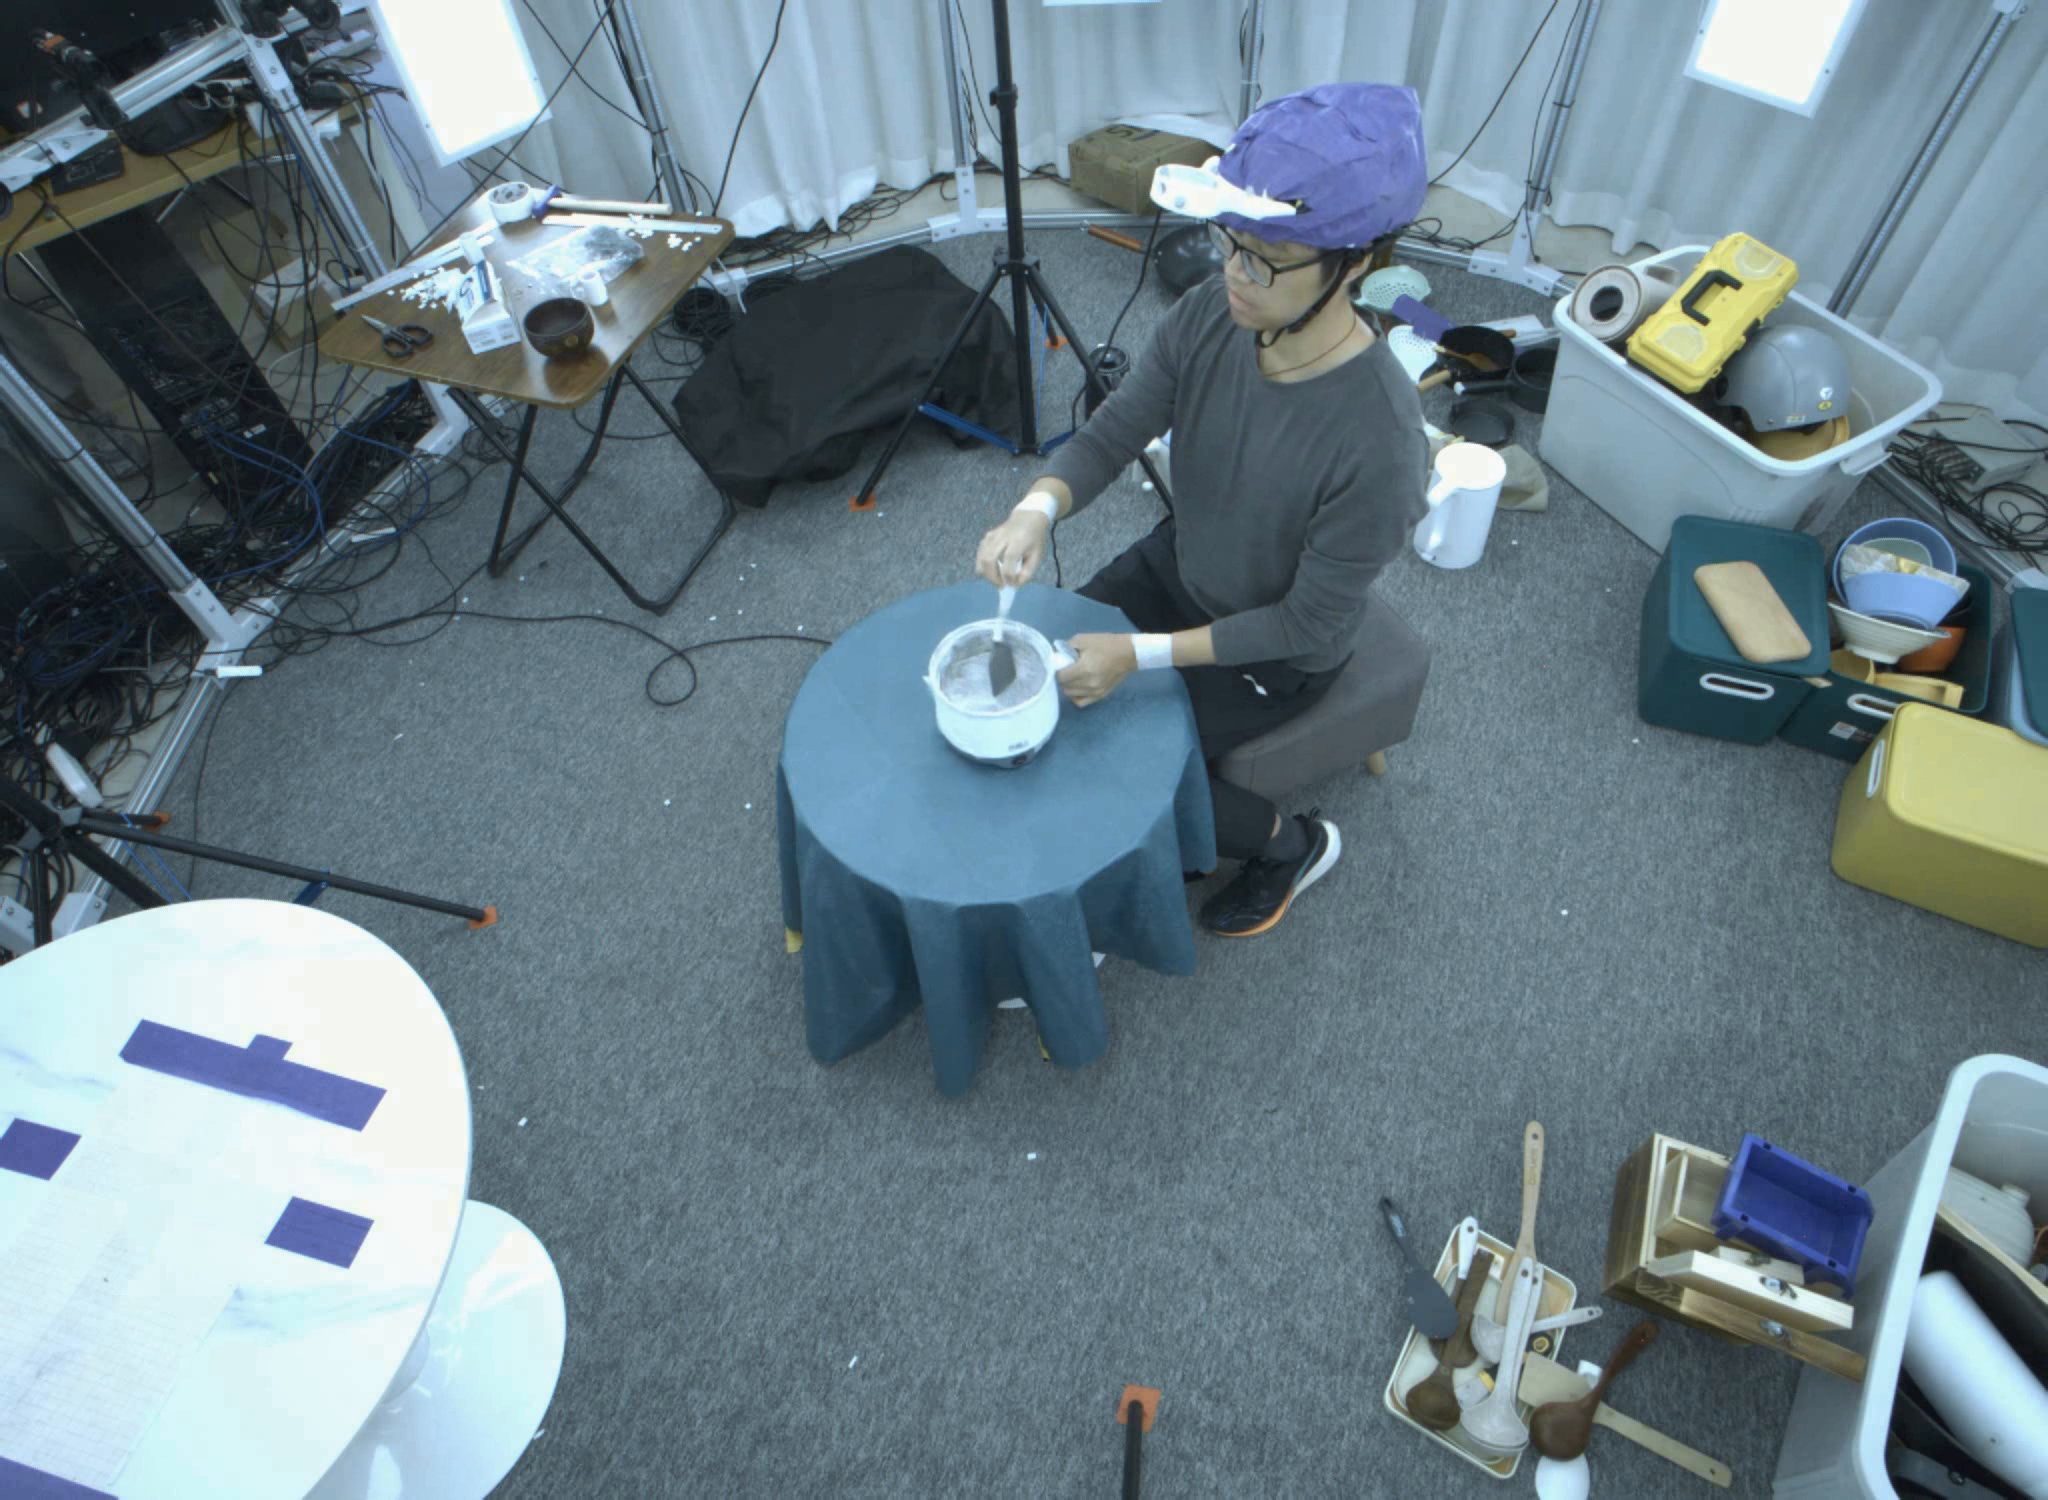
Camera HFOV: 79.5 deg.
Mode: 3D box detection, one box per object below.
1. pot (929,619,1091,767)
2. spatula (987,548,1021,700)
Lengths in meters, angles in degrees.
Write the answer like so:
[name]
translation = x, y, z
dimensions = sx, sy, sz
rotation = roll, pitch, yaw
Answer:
[pot]
translation = -0.016, -0.089, 1.775
dimensions = 0.235, 0.138, 0.175
rotation = -20, 56, -12
[spatula]
translation = -0.028, -0.169, 1.684
dimensions = 0.032, 0.289, 0.059
rotation = 35, 62, 17
